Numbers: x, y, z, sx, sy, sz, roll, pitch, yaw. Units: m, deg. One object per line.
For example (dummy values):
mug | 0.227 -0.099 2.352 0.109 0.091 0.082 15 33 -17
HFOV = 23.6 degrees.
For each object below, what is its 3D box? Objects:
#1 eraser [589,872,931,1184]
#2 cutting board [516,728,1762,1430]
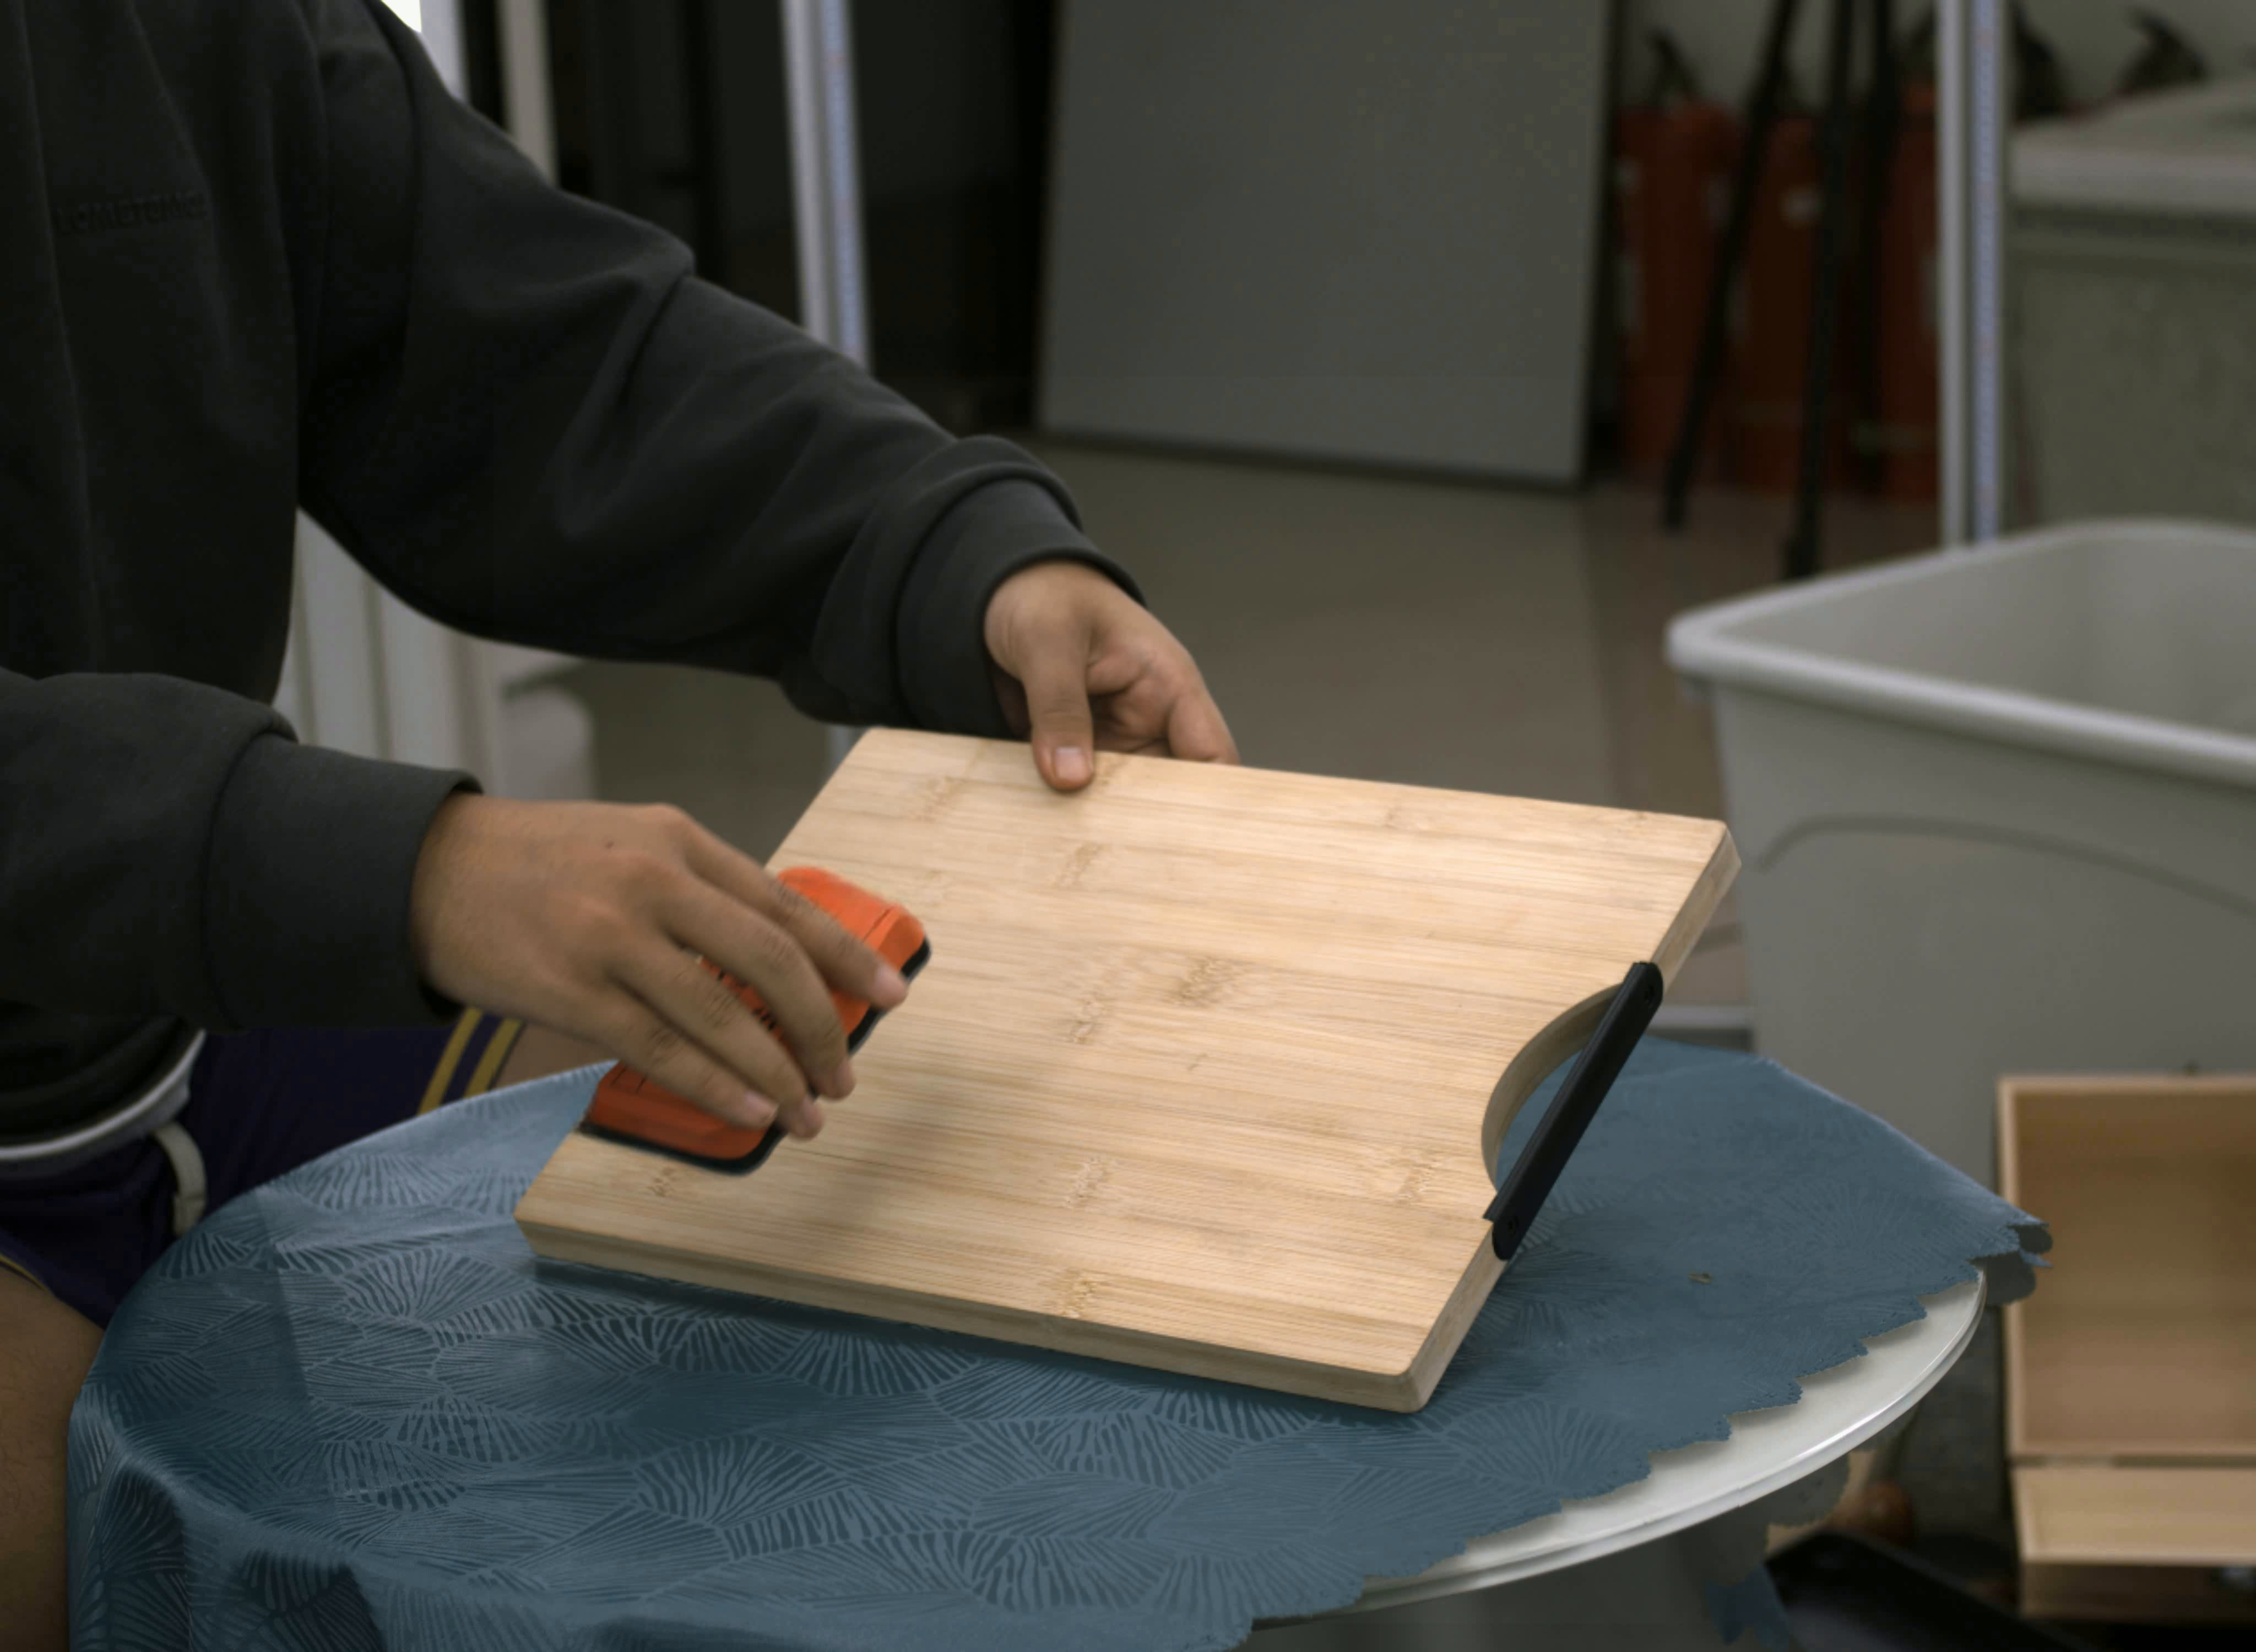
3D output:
eraser | -0.112 0.061 1.646 0.059 0.023 0.107 13 50 39
cutting board | 0.002 0.070 1.705 0.350 0.023 0.250 5 46 35
